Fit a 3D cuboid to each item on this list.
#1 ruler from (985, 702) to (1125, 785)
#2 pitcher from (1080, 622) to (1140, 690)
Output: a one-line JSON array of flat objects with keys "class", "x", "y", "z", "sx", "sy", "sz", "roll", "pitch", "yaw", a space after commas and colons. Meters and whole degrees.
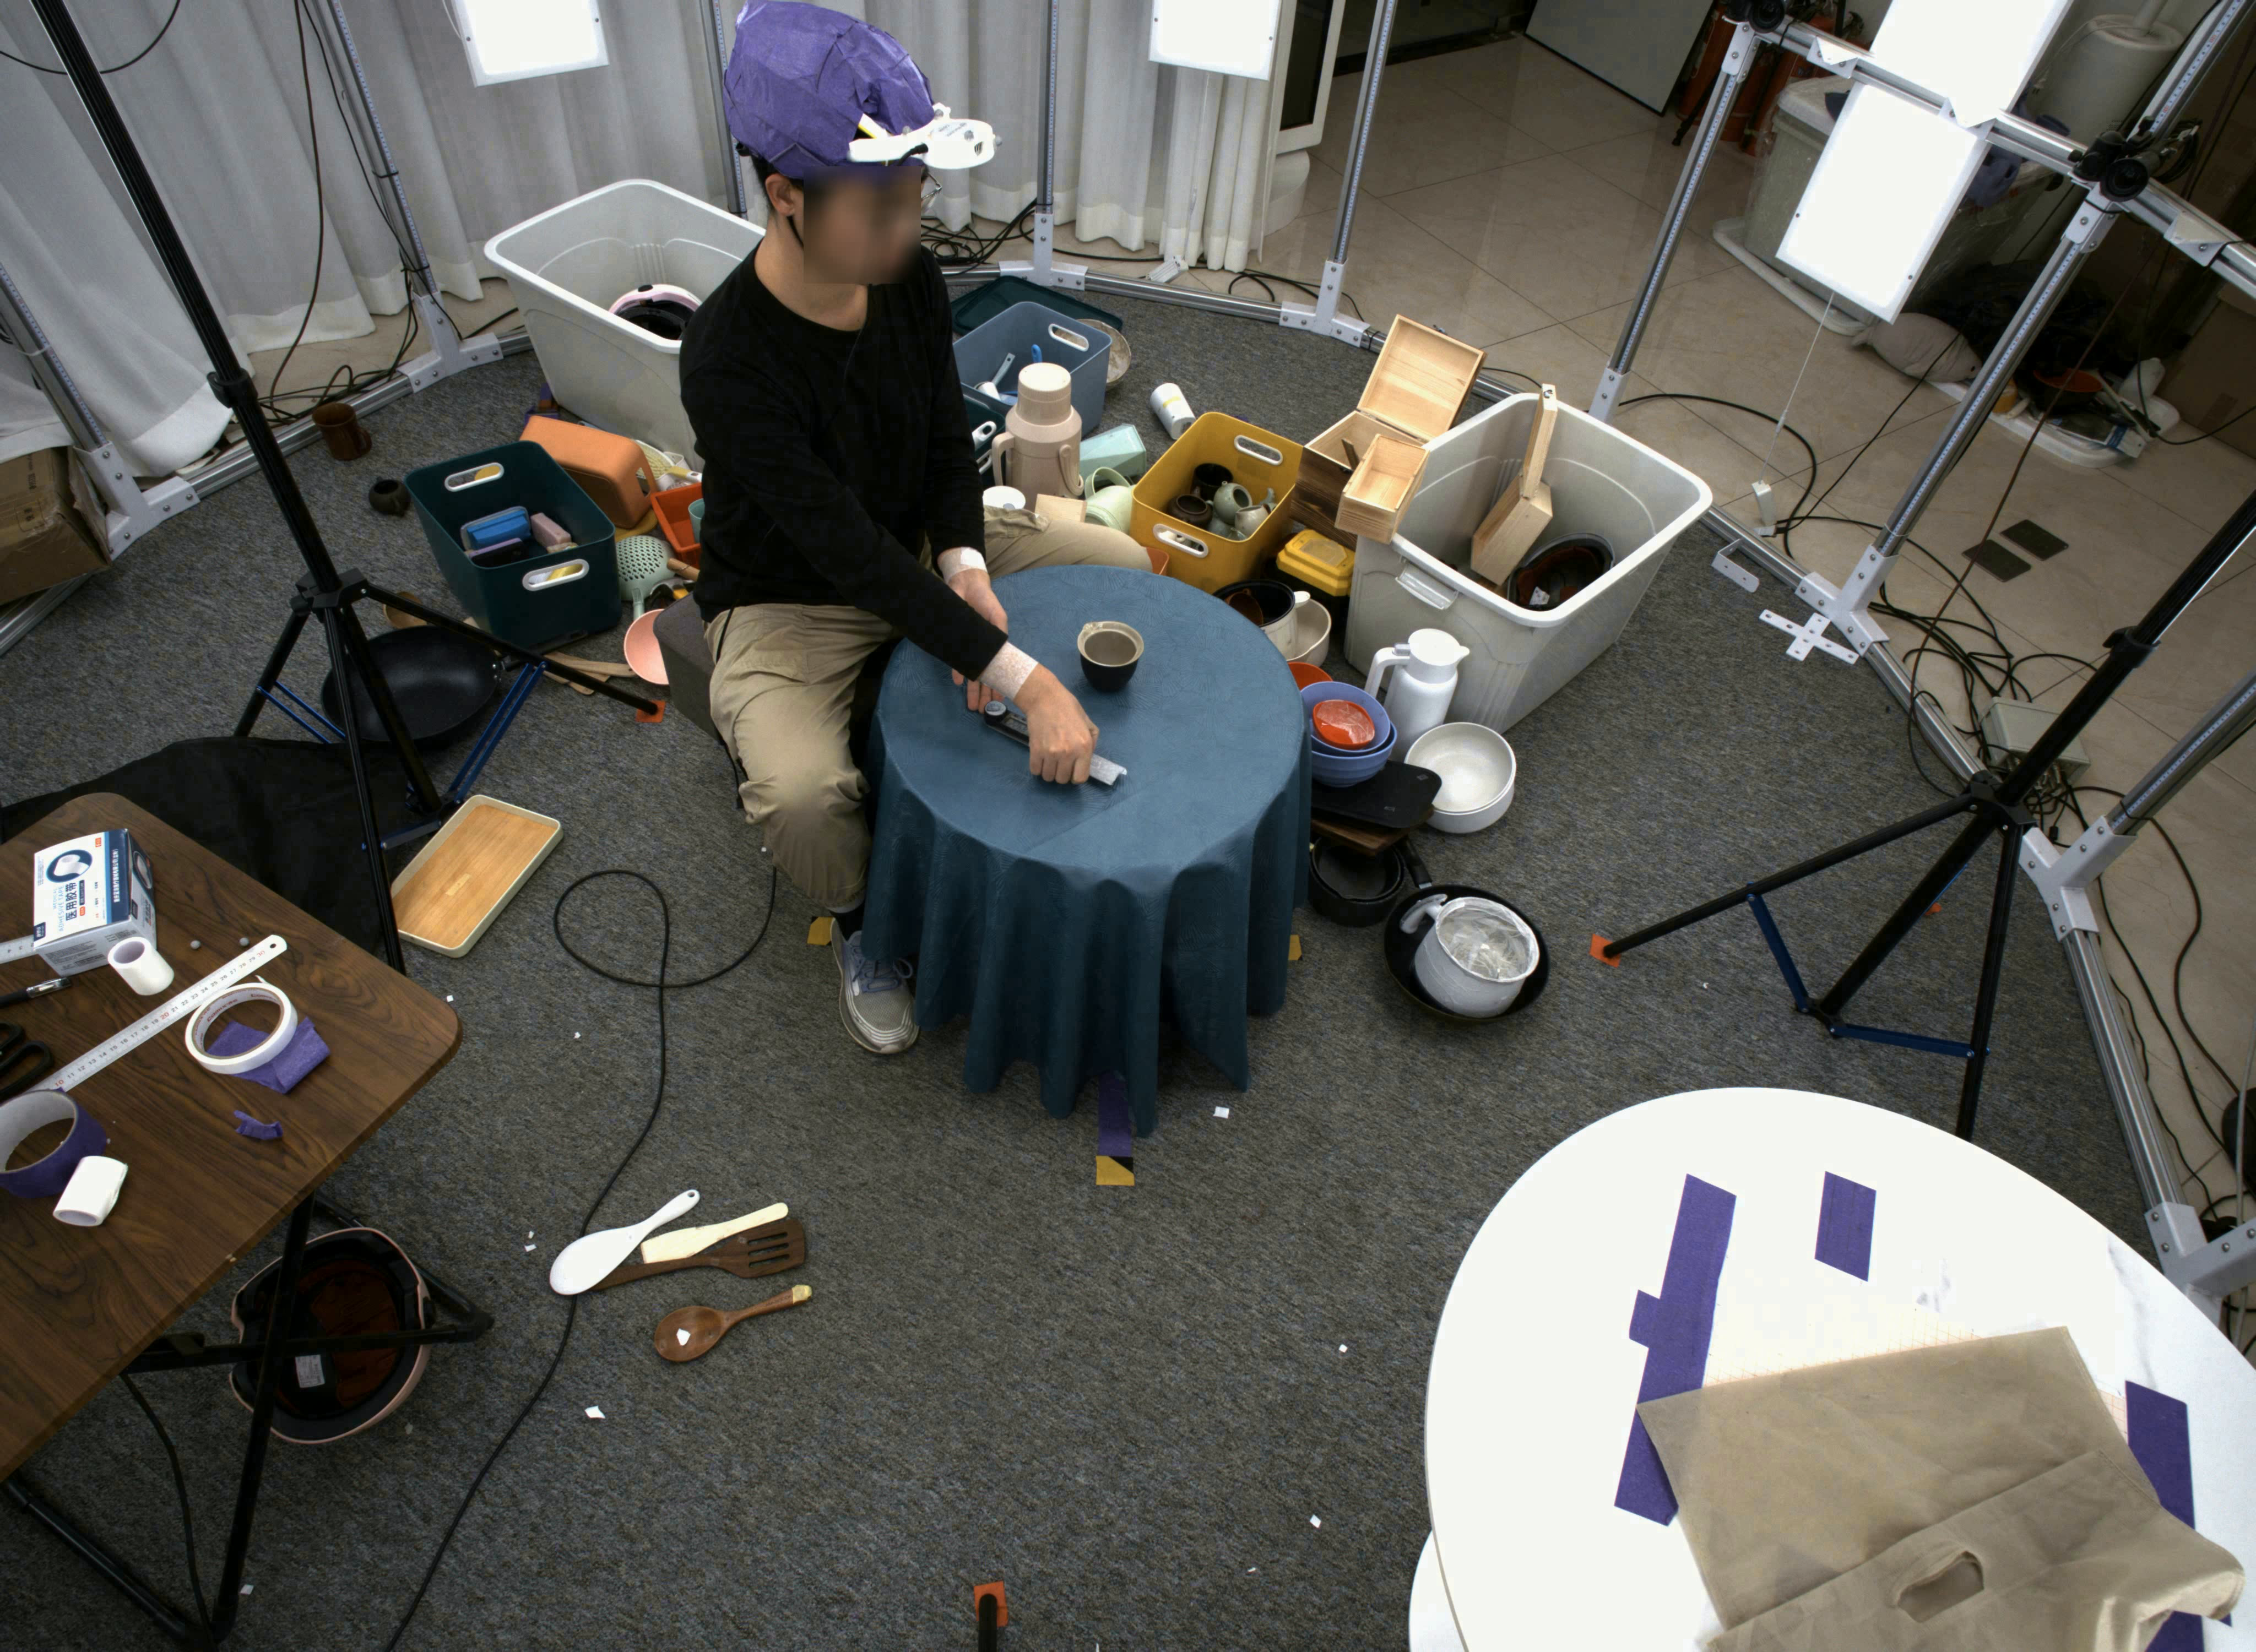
[{"class": "ruler", "x": -0.104, "y": -0.116, "z": 1.741, "sx": 0.220, "sy": 0.023, "sz": 0.039, "roll": 26, "pitch": 59, "yaw": 23}, {"class": "pitcher", "x": -0.030, "y": -0.238, "z": 1.827, "sx": 0.084, "sy": 0.069, "sz": 0.097, "roll": -31, "pitch": 59, "yaw": -26}]
